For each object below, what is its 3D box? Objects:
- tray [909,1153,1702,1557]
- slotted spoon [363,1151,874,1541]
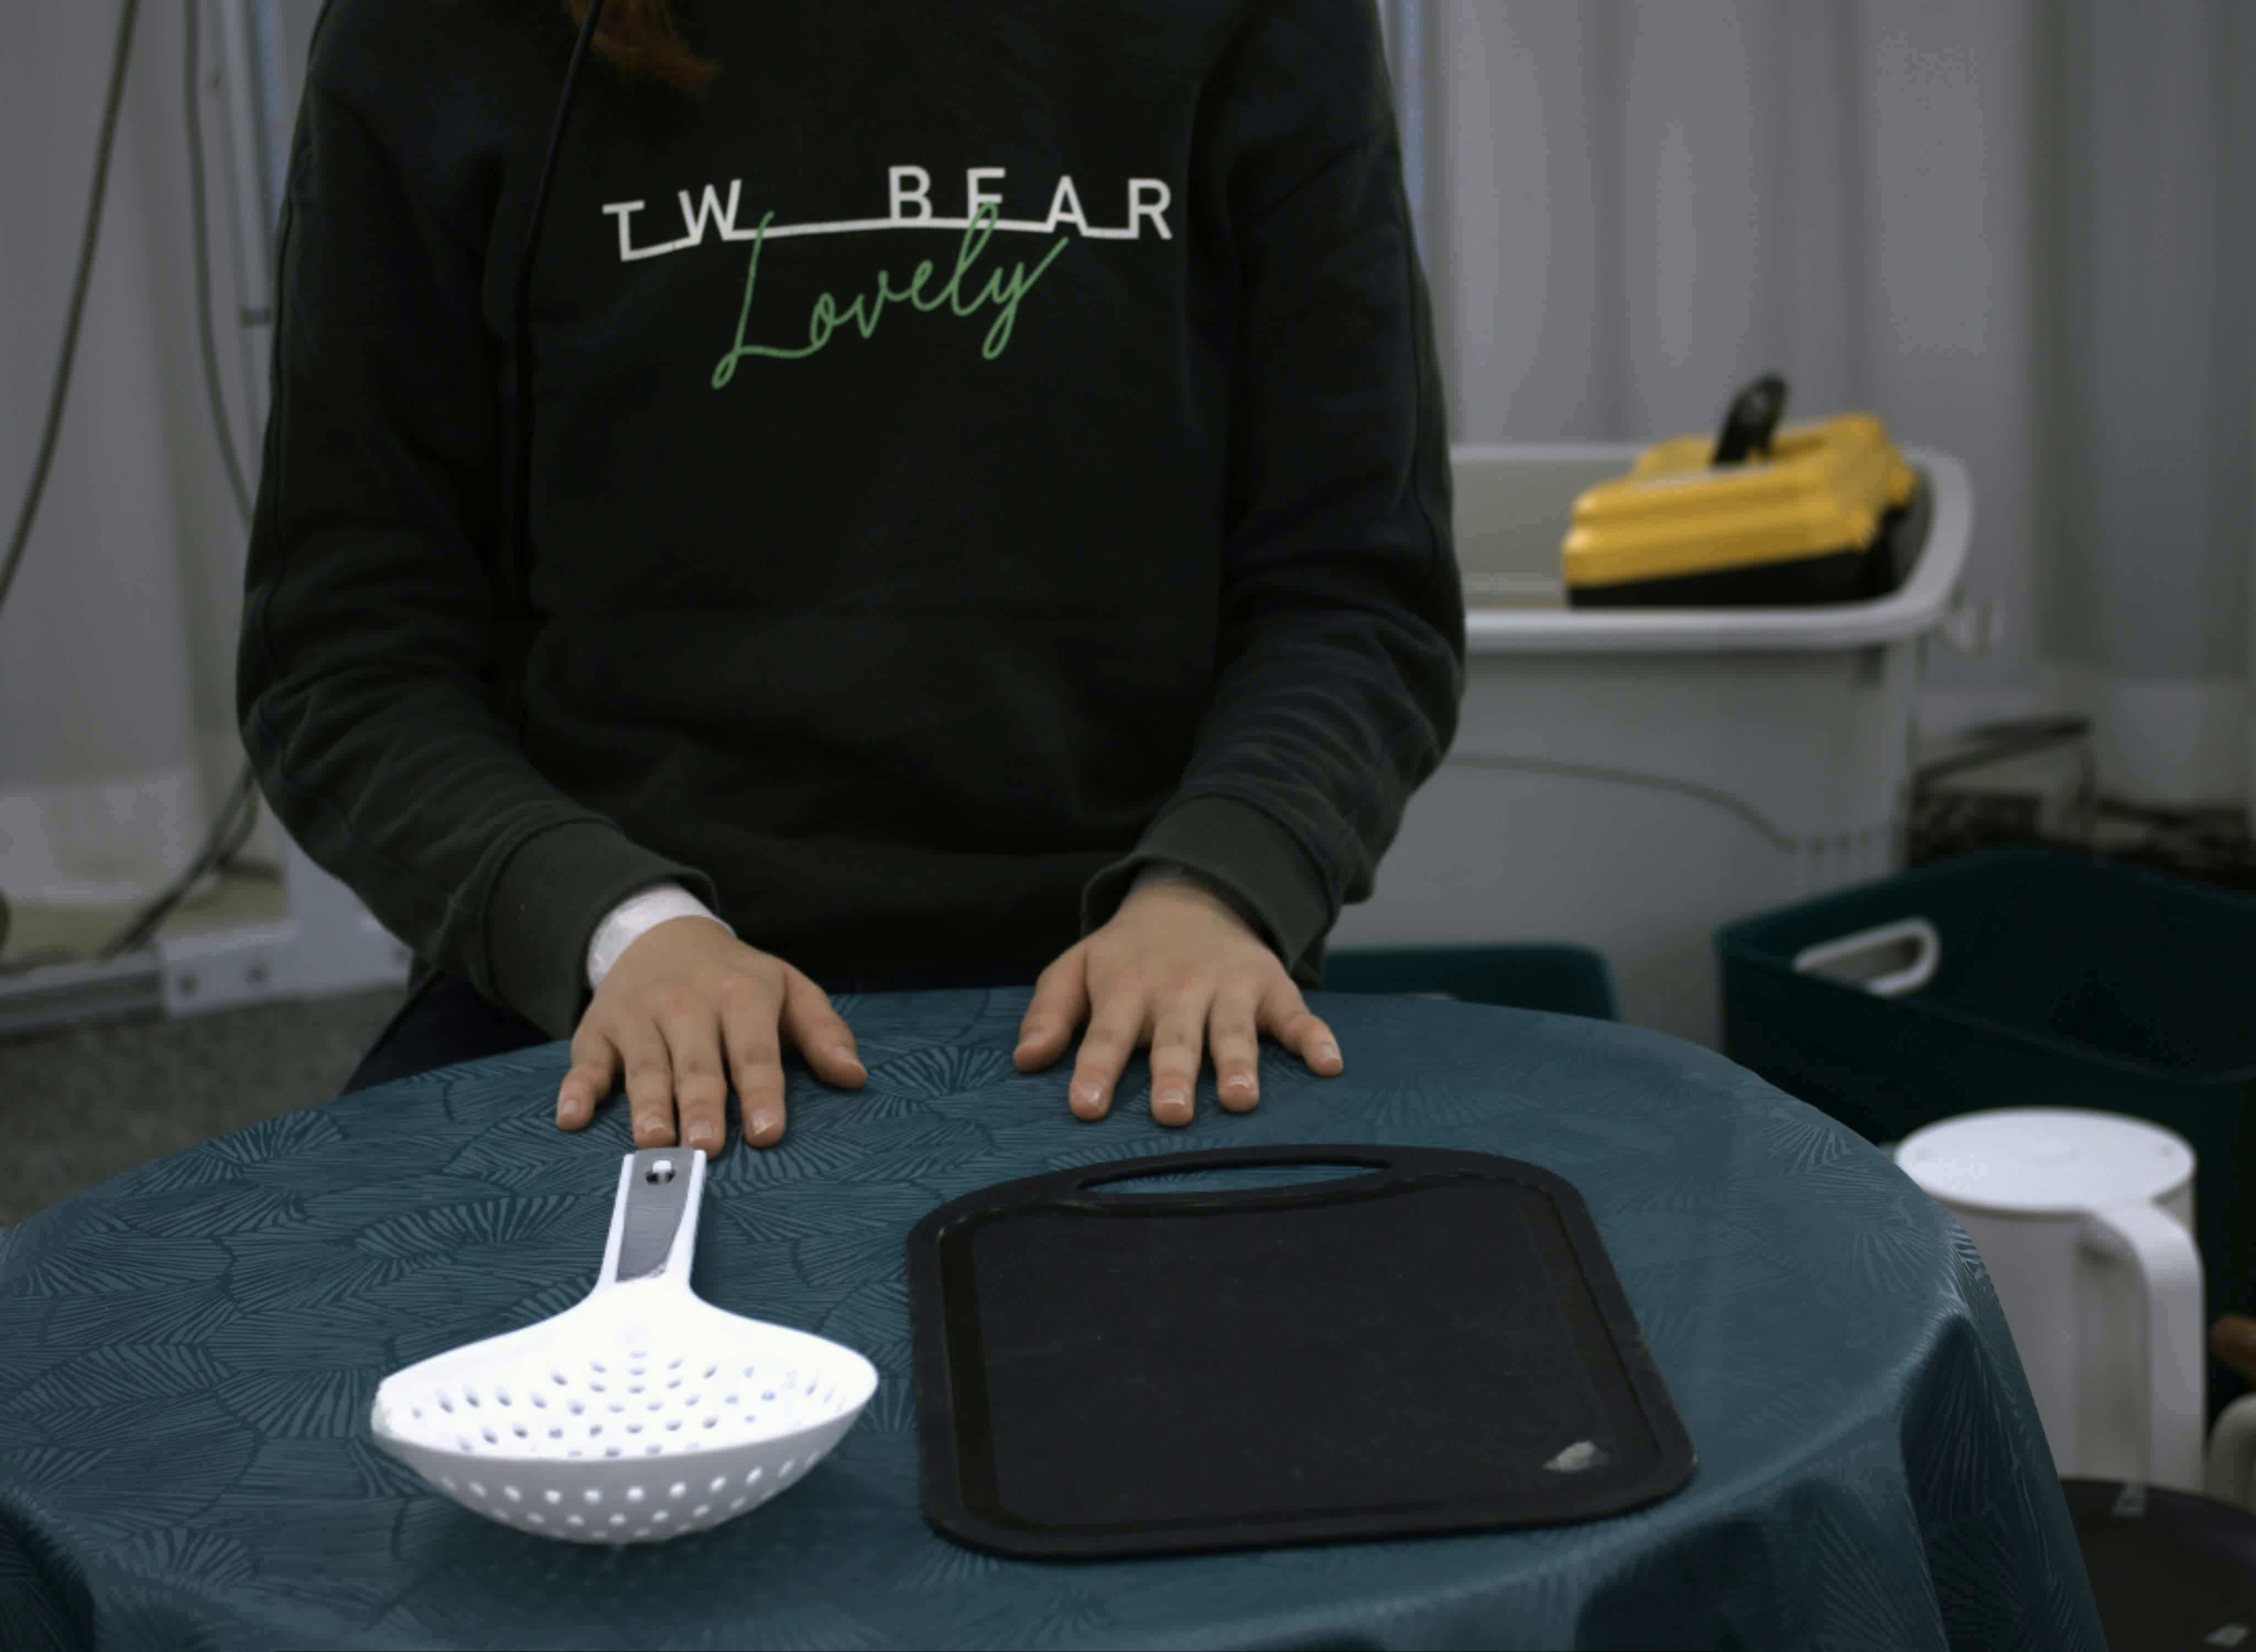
[{"bbox_3d":[0.043,0.145,1.579,0.210,0.010,0.327,-3,15,-2],"label":"tray"},{"bbox_3d":[-0.139,0.139,1.562,0.135,0.045,0.352,-1,14,-2],"label":"slotted spoon"}]
